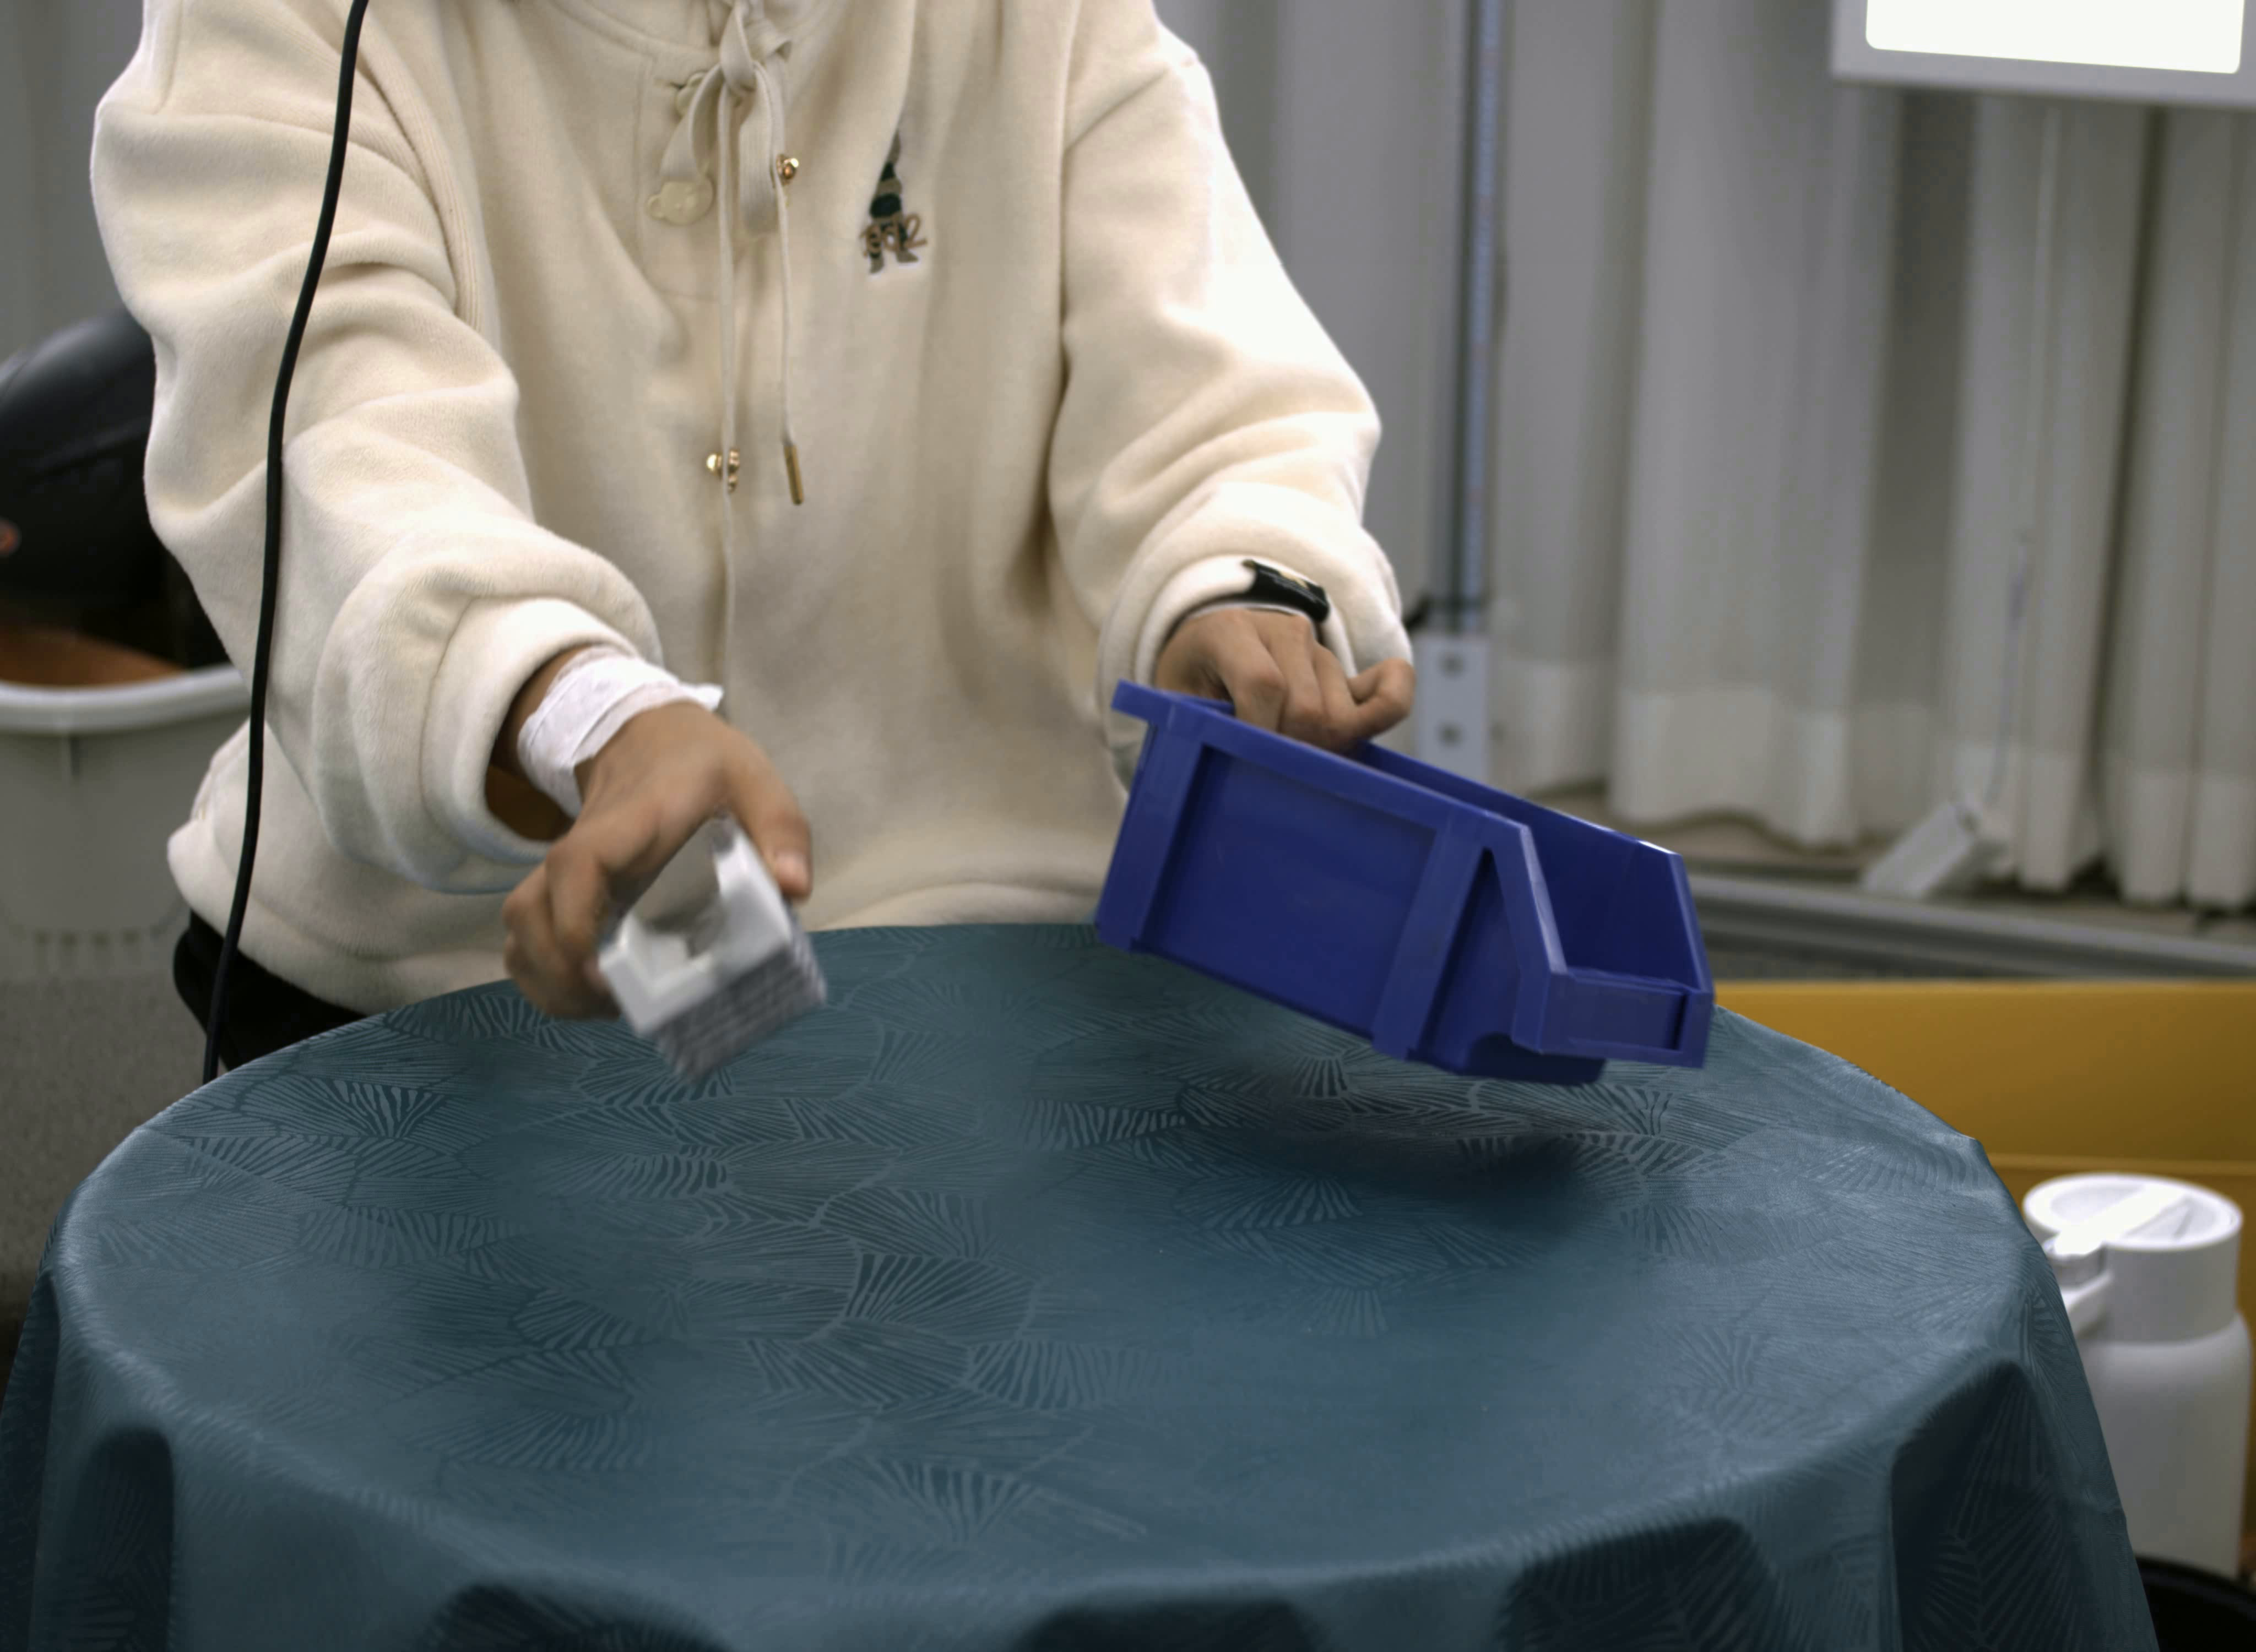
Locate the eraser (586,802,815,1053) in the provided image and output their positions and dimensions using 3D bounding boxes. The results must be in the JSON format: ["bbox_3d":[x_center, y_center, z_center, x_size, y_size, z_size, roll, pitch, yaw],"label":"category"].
[{"bbox_3d":[-0.120,0.027,1.476,0.050,0.047,0.133,-36,9,-4],"label":"eraser"}]

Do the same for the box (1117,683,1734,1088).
[{"bbox_3d":[0.094,0.024,1.660,0.177,0.082,0.125,19,4,31],"label":"box"}]
